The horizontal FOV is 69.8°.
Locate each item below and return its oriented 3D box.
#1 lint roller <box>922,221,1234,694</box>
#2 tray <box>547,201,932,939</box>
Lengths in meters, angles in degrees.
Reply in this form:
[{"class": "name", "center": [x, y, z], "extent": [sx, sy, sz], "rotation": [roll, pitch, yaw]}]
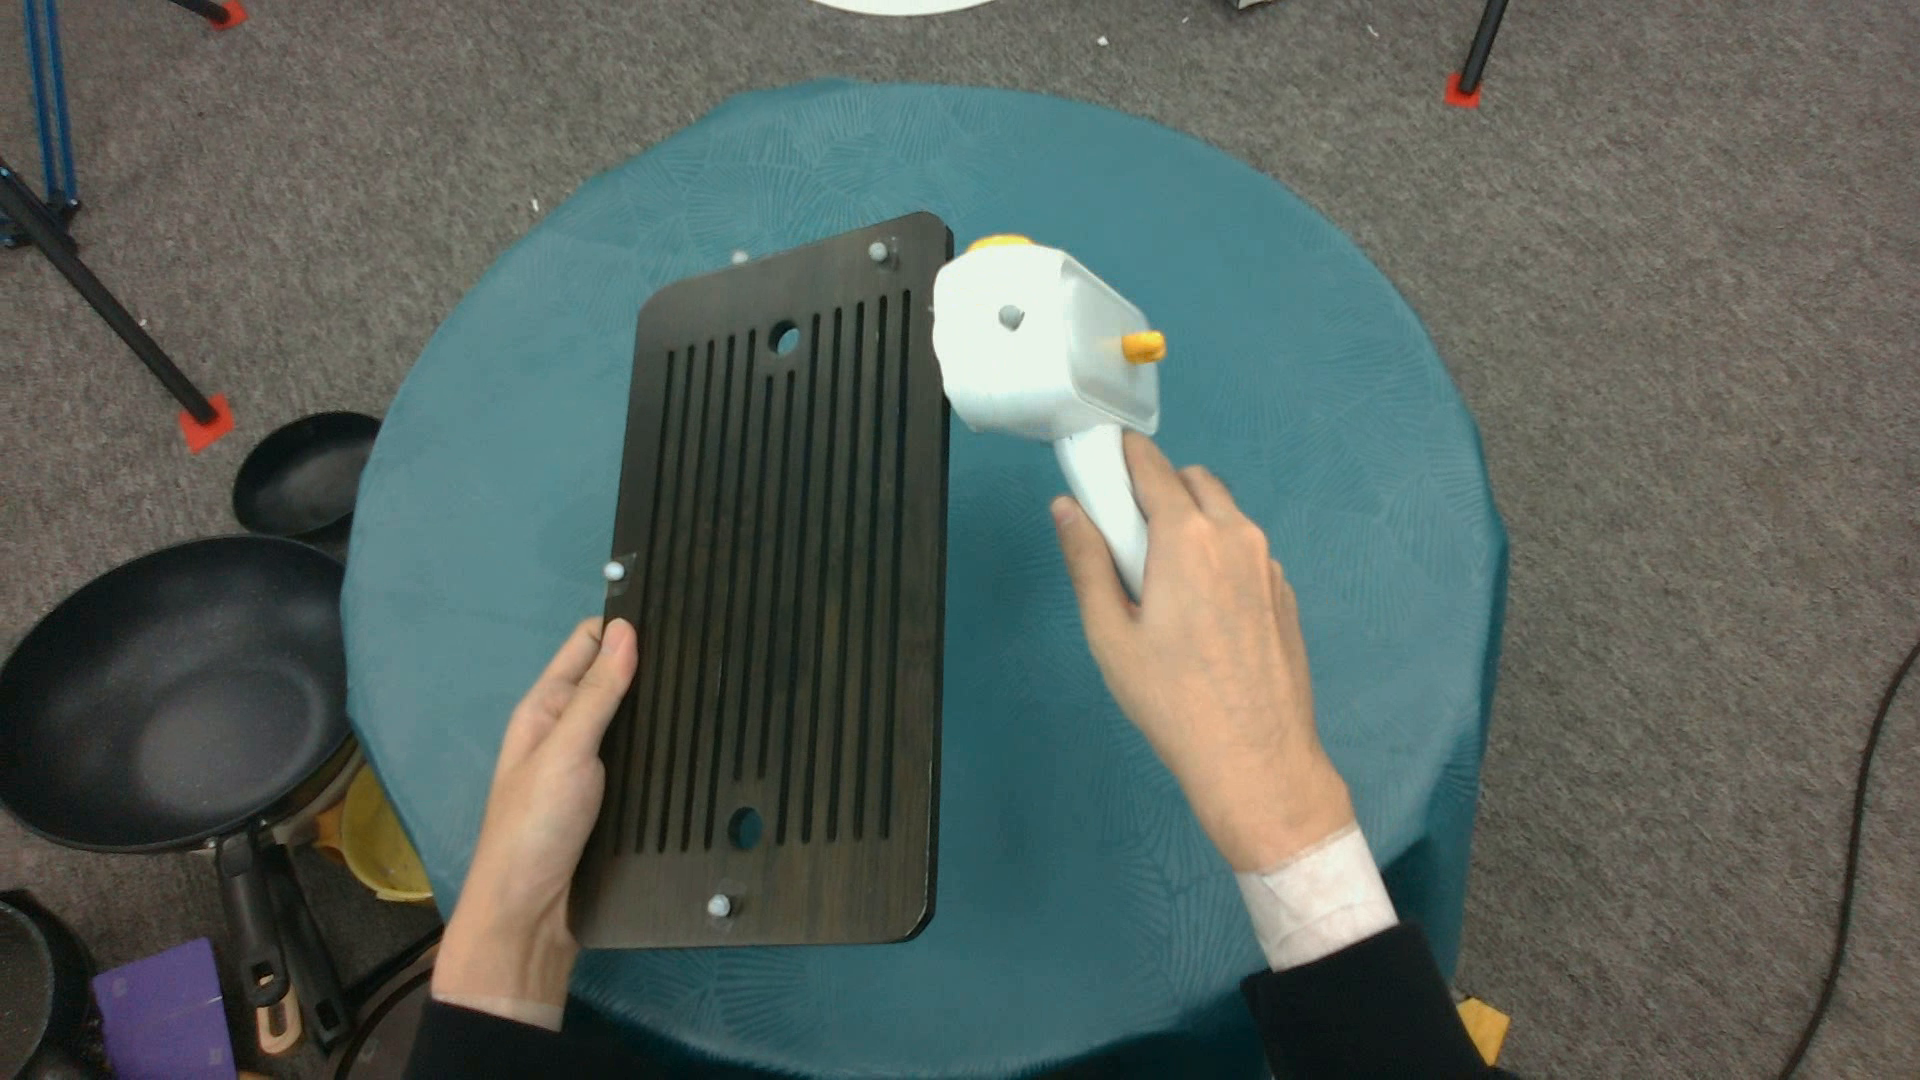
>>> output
[{"class": "lint roller", "center": [0.056, -0.027, 0.553], "extent": [0.074, 0.193, 0.192], "rotation": [-16, 89, 13]}, {"class": "tray", "center": [-0.088, 0.008, 0.579], "extent": [0.169, 0.018, 0.307], "rotation": [-9, 67, 26]}]
